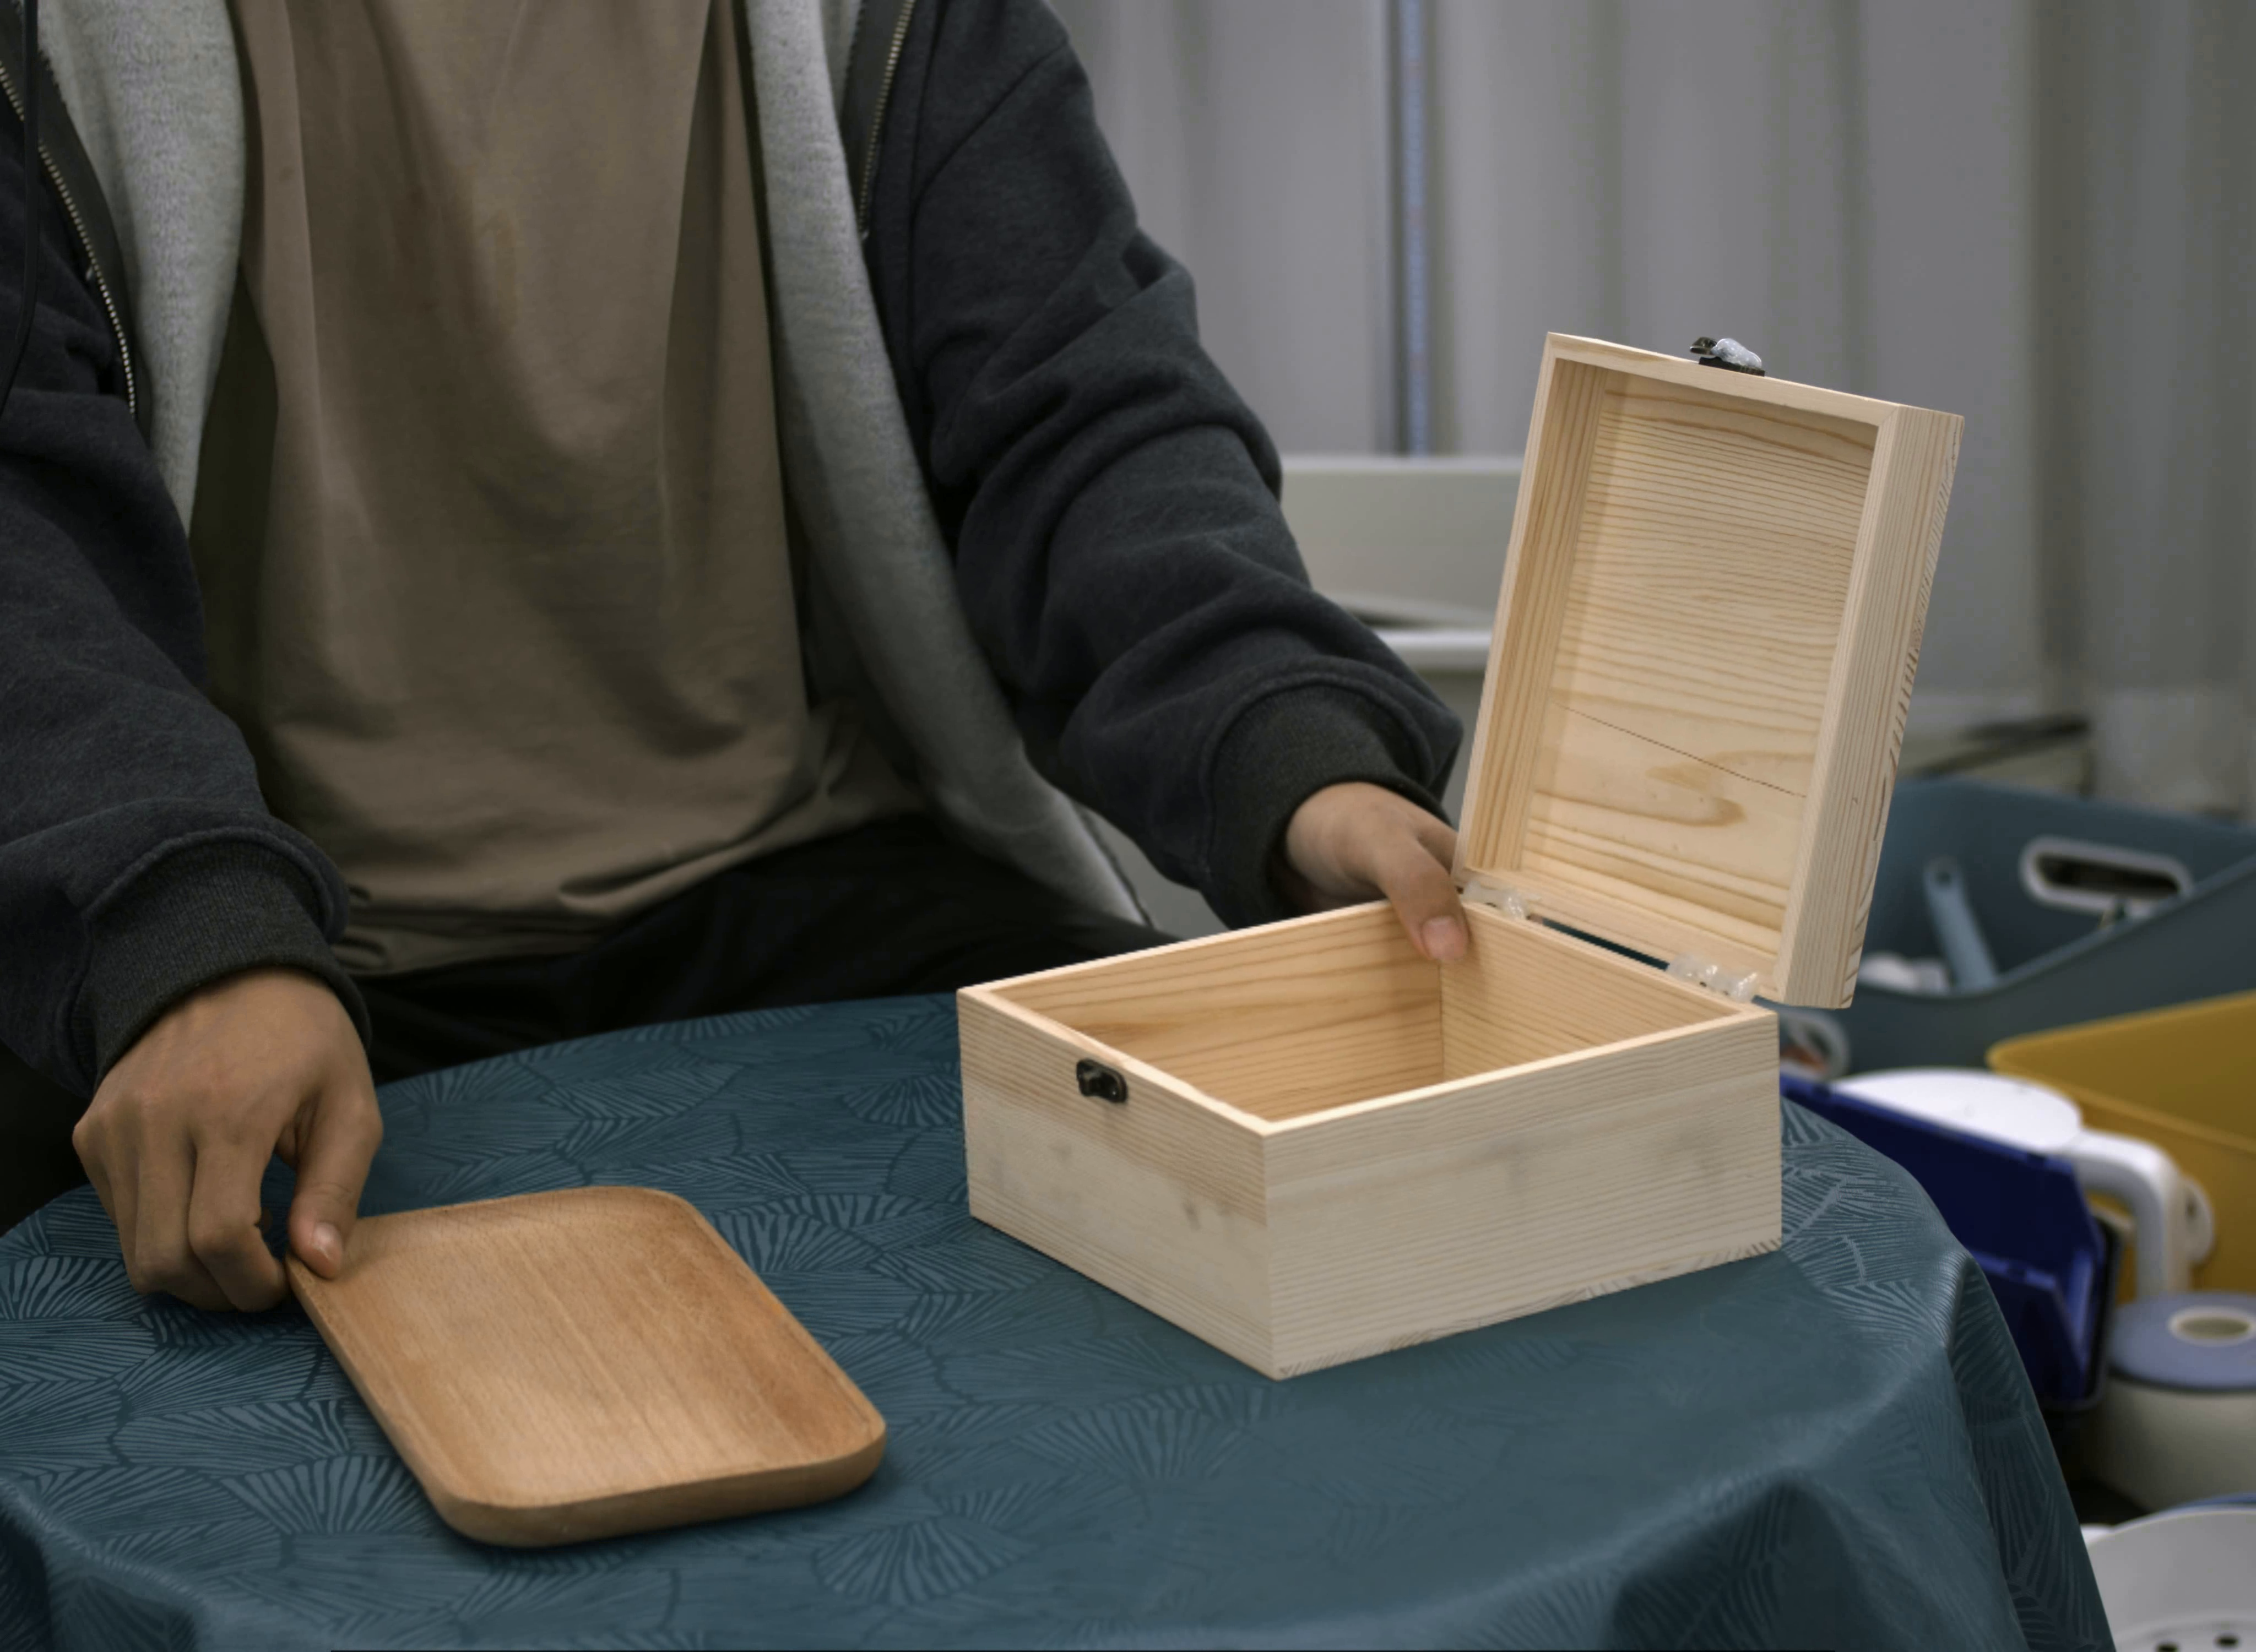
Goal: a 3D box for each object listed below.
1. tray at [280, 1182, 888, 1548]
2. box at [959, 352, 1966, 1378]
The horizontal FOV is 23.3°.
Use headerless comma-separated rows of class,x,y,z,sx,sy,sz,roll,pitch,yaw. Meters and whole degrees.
tray,-0.160,0.152,1.569,0.130,0.023,0.252,-4,14,-19
box,0.097,0.000,1.656,0.264,0.252,0.183,-10,13,-30
